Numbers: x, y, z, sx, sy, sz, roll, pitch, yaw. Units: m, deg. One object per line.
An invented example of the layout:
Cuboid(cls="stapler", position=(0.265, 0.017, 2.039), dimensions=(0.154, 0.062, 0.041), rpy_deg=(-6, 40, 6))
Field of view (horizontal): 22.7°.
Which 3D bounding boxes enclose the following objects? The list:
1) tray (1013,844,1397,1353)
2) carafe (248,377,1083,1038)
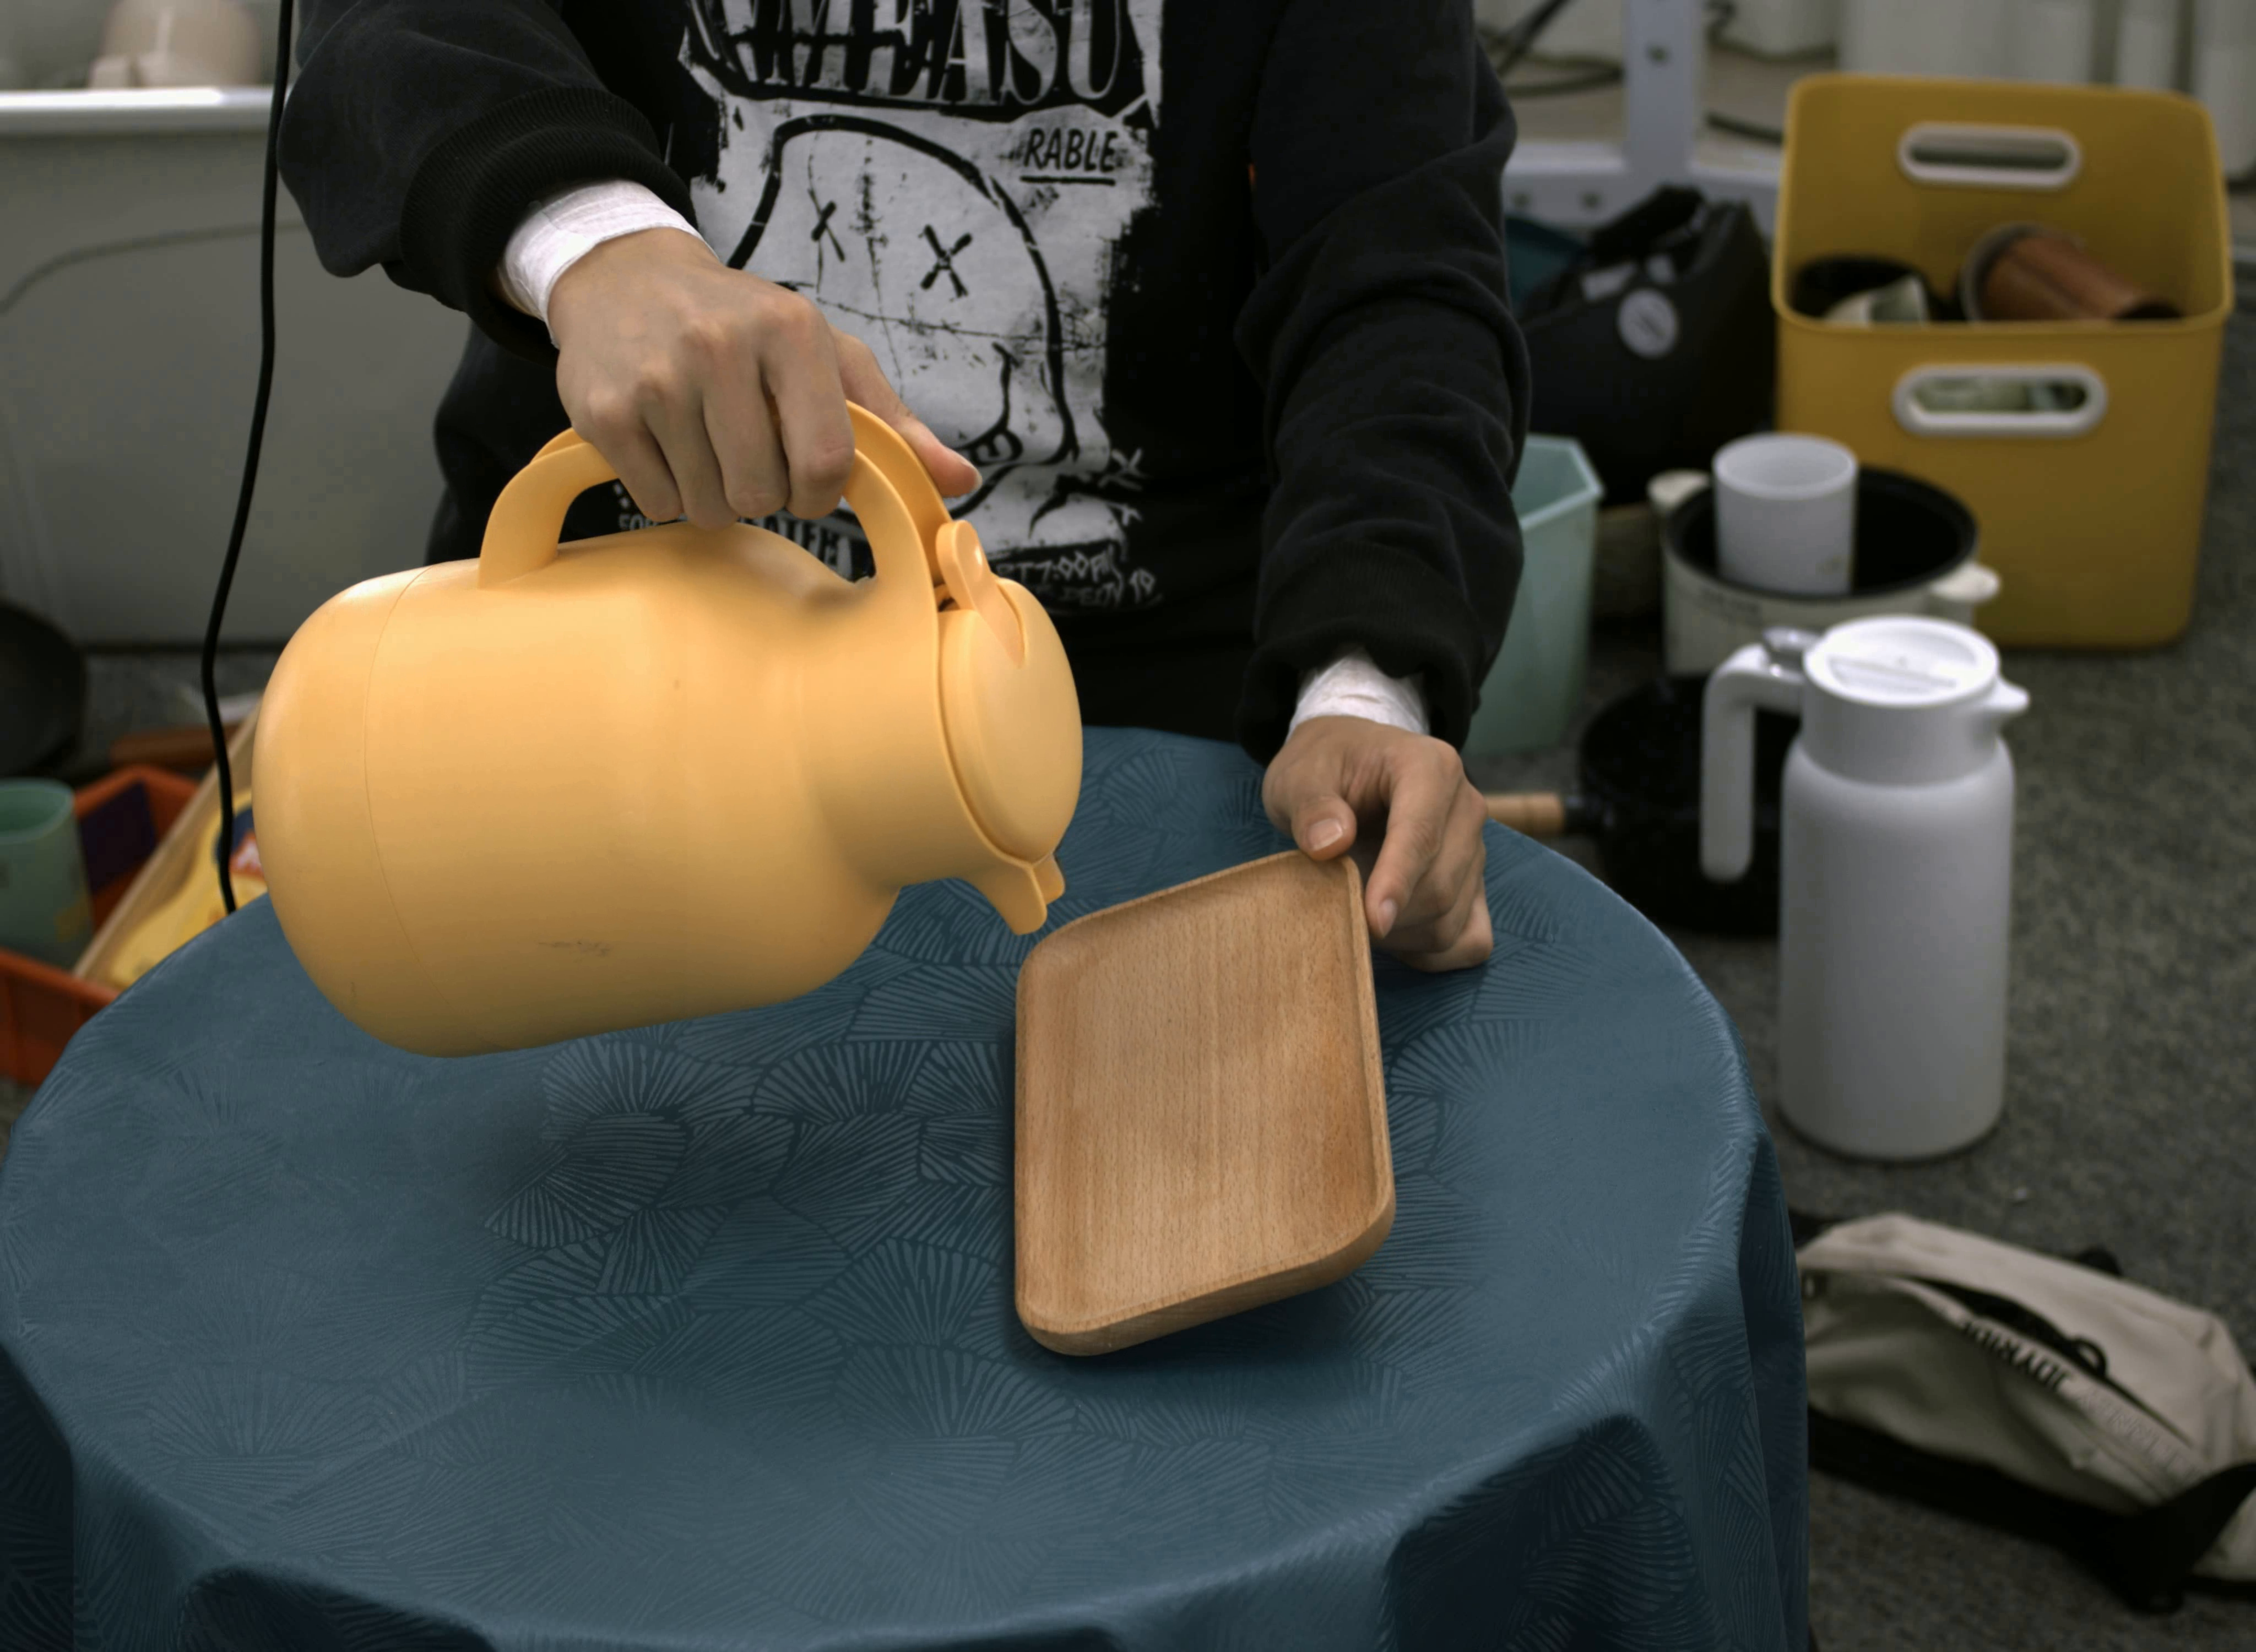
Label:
Cuboid(cls="tray", position=(0.024, 0.088, 1.860), dimensions=(0.129, 0.022, 0.255), rpy_deg=(-15, 28, 9))
Cuboid(cls="carafe", position=(-0.149, -0.040, 1.822), dimensions=(0.258, 0.201, 0.166), rpy_deg=(-8, 18, 19))
